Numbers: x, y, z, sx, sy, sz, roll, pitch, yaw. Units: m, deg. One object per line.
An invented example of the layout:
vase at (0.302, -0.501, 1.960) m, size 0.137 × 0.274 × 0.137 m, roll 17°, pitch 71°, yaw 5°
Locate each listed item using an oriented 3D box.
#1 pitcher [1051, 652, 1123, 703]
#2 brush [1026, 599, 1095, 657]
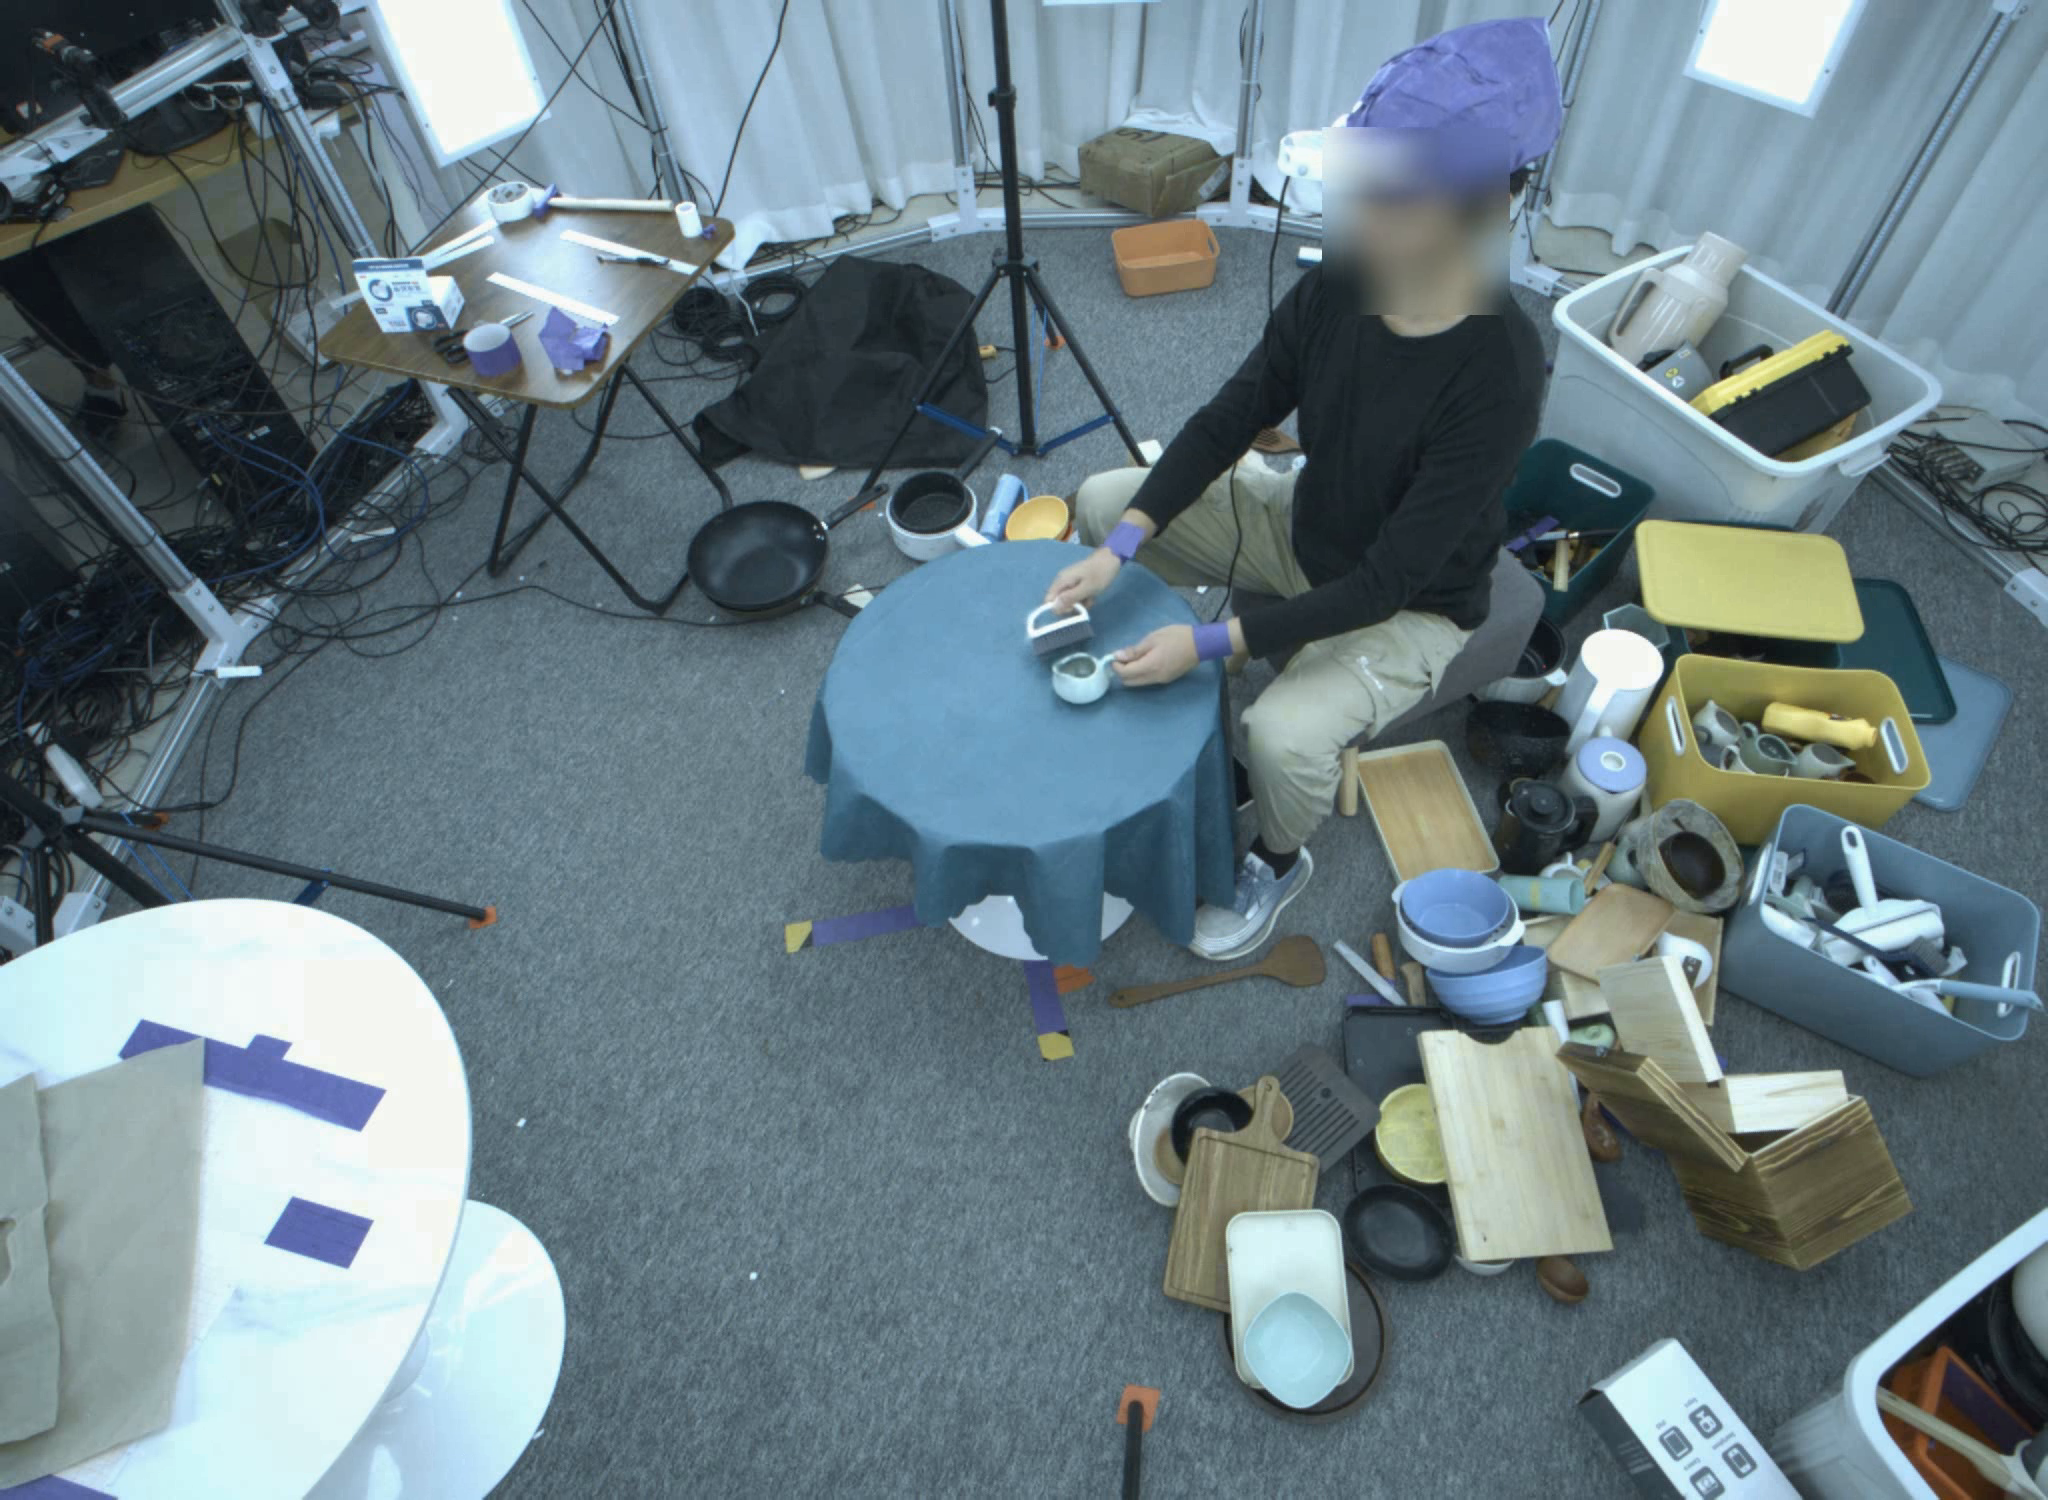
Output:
pitcher at (0.094, -0.114, 1.832) m, size 0.108 × 0.061 × 0.084 m, roll -12°, pitch 57°, yaw -8°
brush at (0.050, -0.191, 1.871) m, size 0.099 × 0.050 × 0.072 m, roll -20°, pitch 87°, yaw -5°
